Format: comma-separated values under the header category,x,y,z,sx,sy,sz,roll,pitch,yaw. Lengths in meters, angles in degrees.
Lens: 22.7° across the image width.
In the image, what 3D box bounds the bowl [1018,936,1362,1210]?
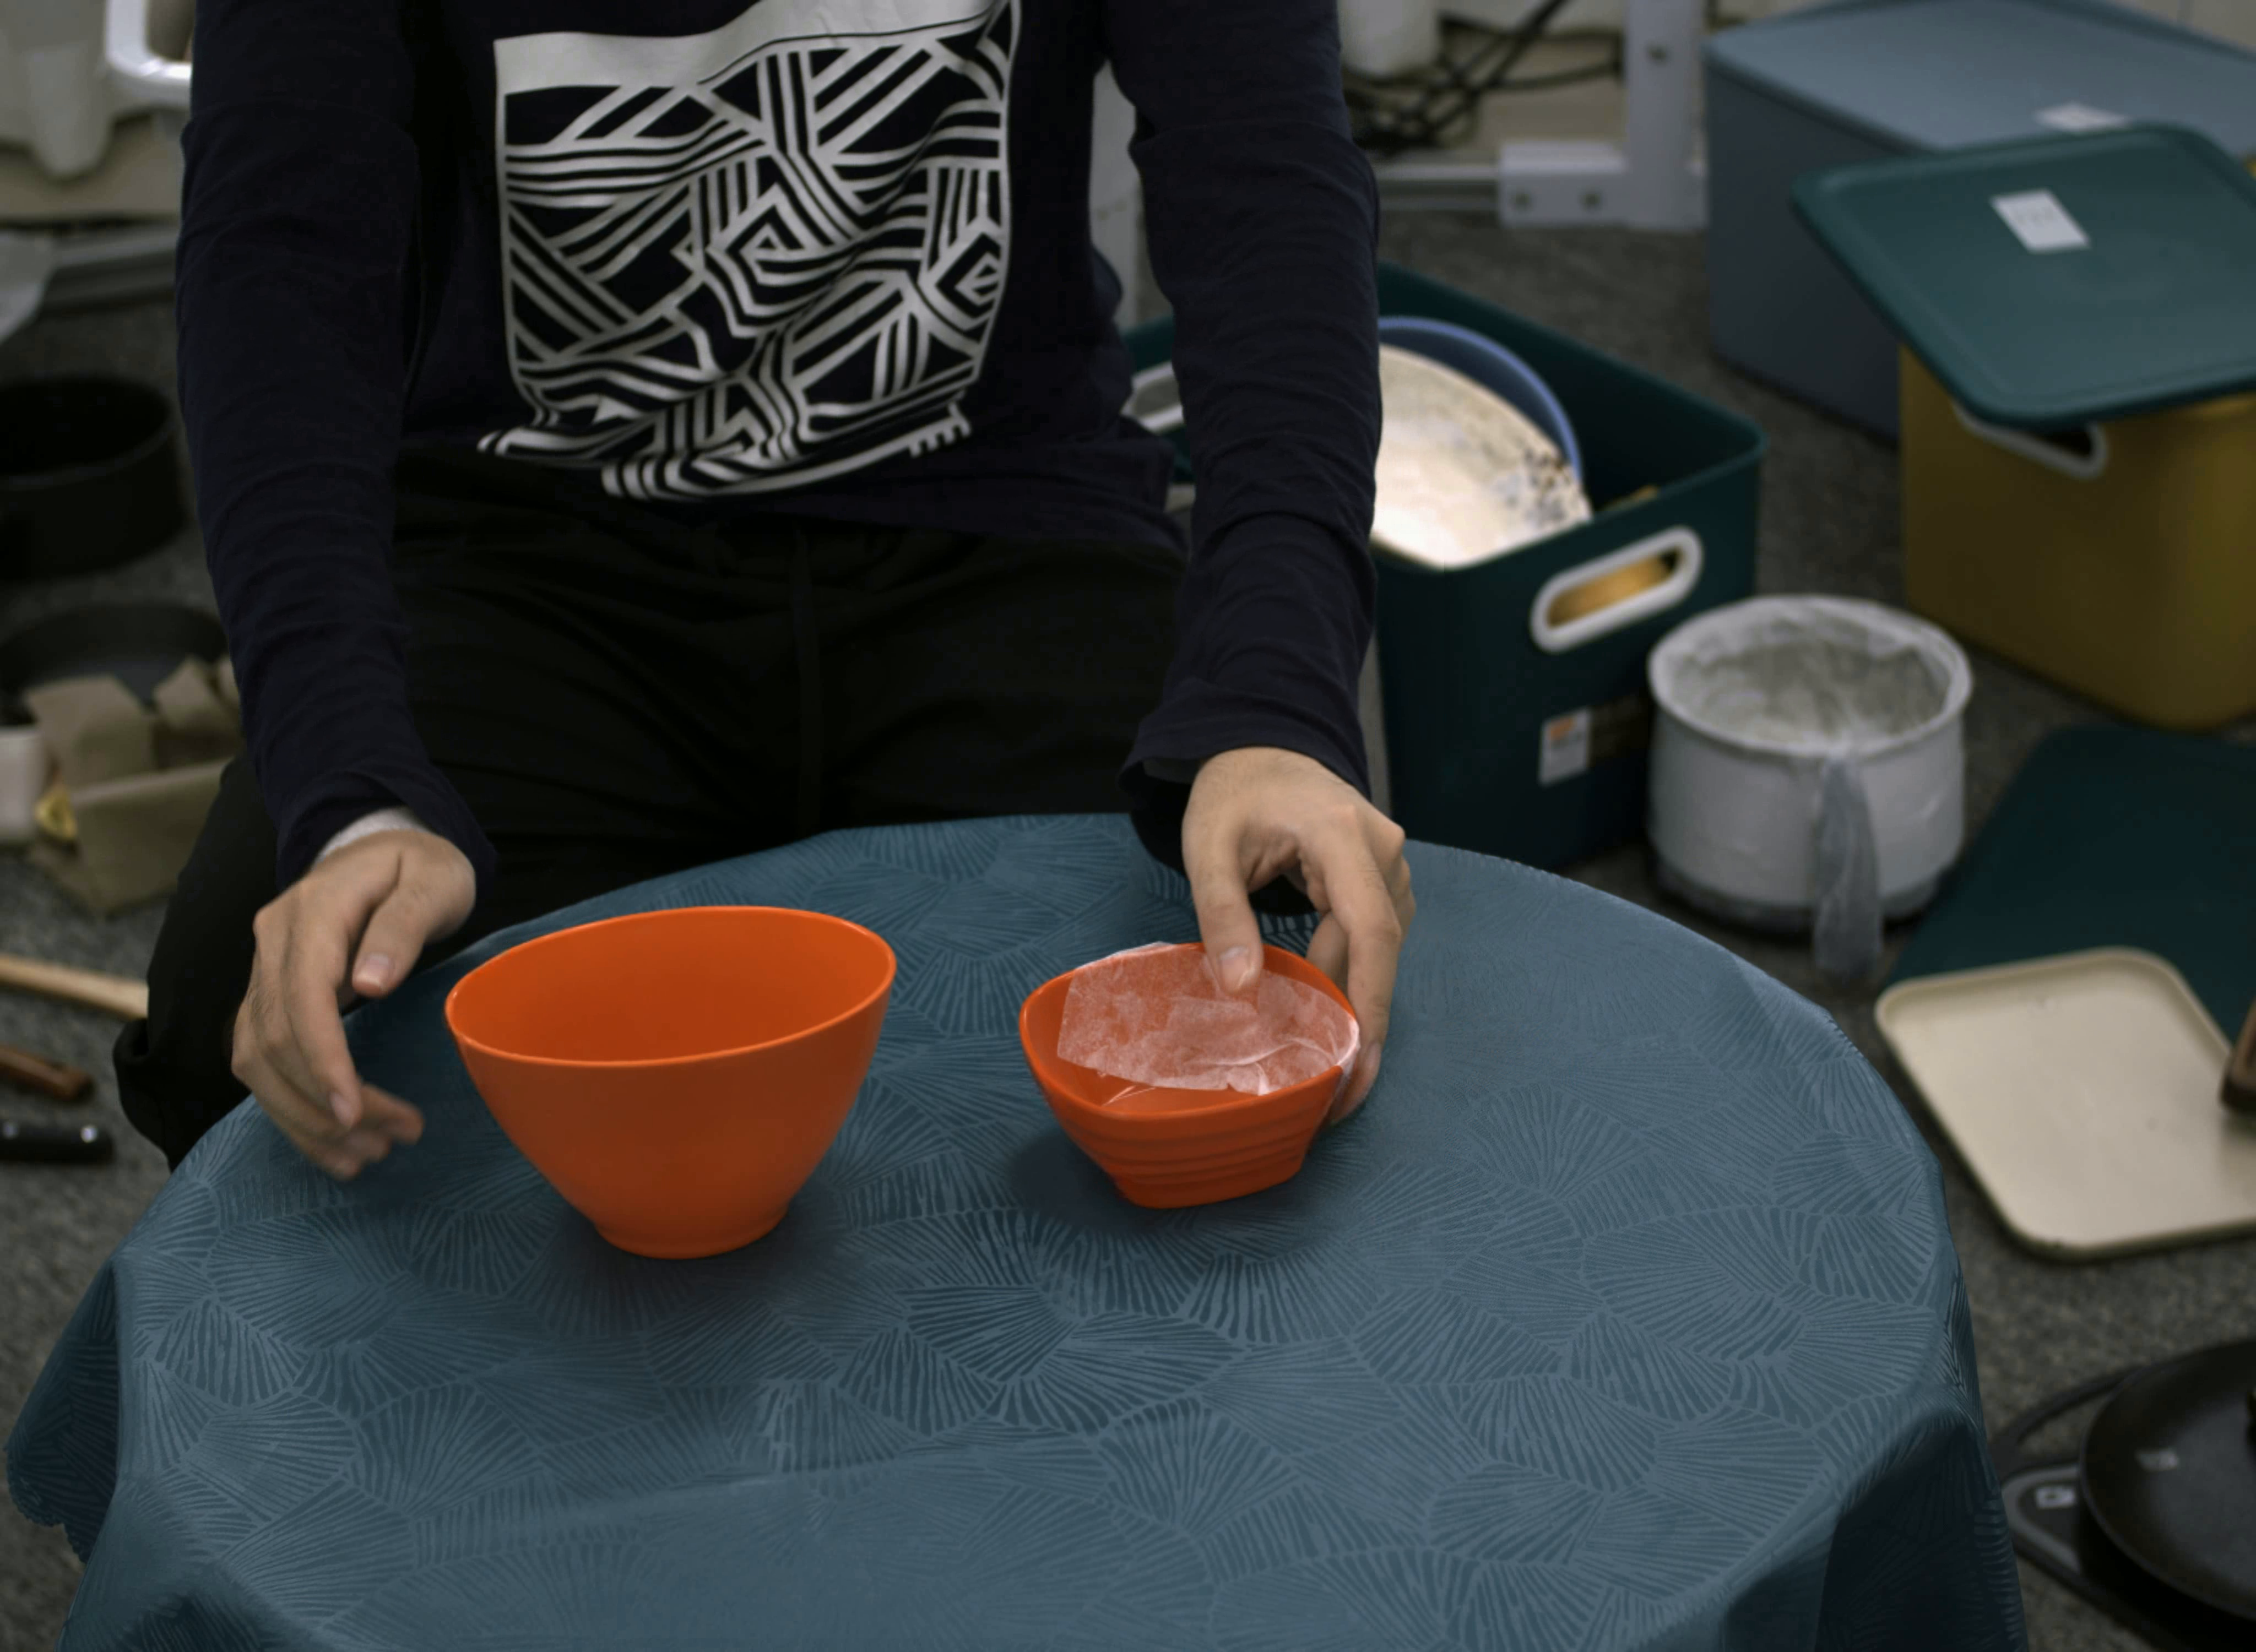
category,x,y,z,sx,sy,sz,roll,pitch,yaw
bowl,0.022,0.087,1.872,0.118,0.051,0.121,-3,28,2

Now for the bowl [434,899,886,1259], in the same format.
category,x,y,z,sx,sy,sz,roll,pitch,yaw
bowl,-0.149,0.087,1.833,0.147,0.103,0.150,-3,27,2
